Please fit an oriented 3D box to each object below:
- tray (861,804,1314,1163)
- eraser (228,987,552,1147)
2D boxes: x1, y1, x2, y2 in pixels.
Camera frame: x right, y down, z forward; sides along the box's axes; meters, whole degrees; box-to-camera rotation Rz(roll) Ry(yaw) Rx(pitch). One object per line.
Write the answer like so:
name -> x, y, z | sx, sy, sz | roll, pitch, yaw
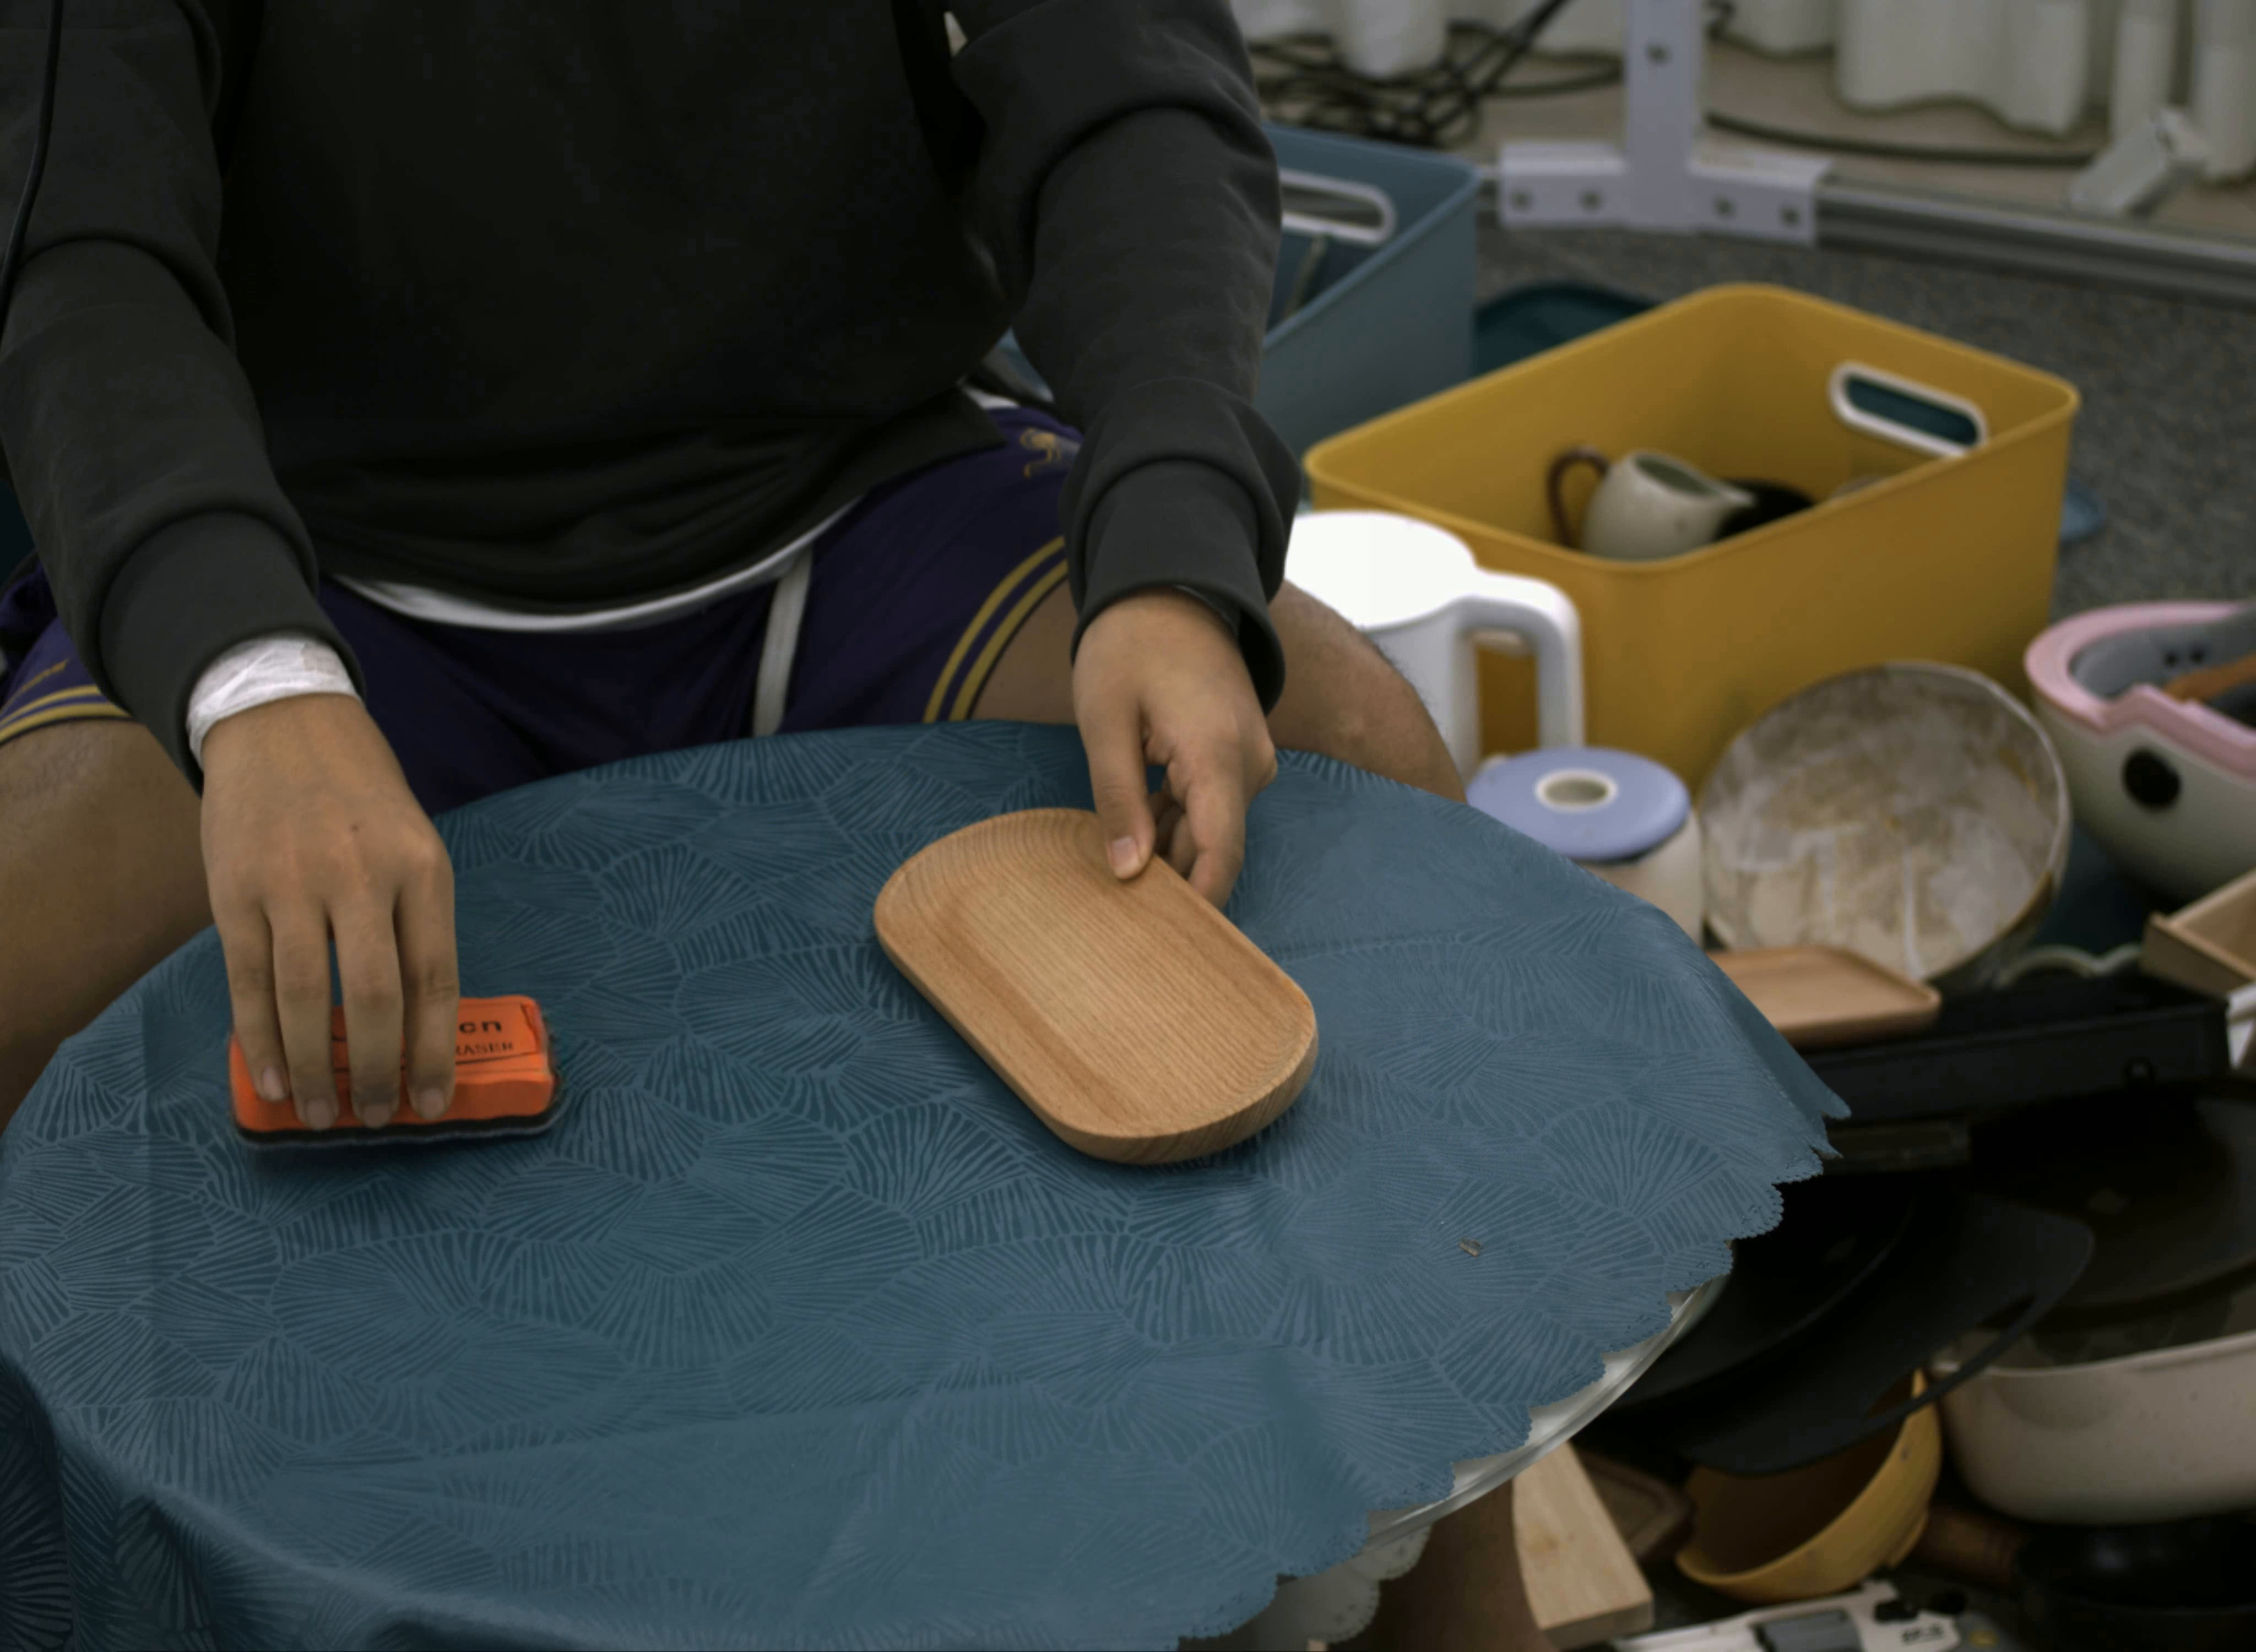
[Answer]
tray -> -0.015, 0.053, 1.961 | 0.102, 0.020, 0.232 | -24, 32, -18
eraser -> -0.252, 0.083, 1.914 | 0.108, 0.022, 0.060 | -2, 37, -12
